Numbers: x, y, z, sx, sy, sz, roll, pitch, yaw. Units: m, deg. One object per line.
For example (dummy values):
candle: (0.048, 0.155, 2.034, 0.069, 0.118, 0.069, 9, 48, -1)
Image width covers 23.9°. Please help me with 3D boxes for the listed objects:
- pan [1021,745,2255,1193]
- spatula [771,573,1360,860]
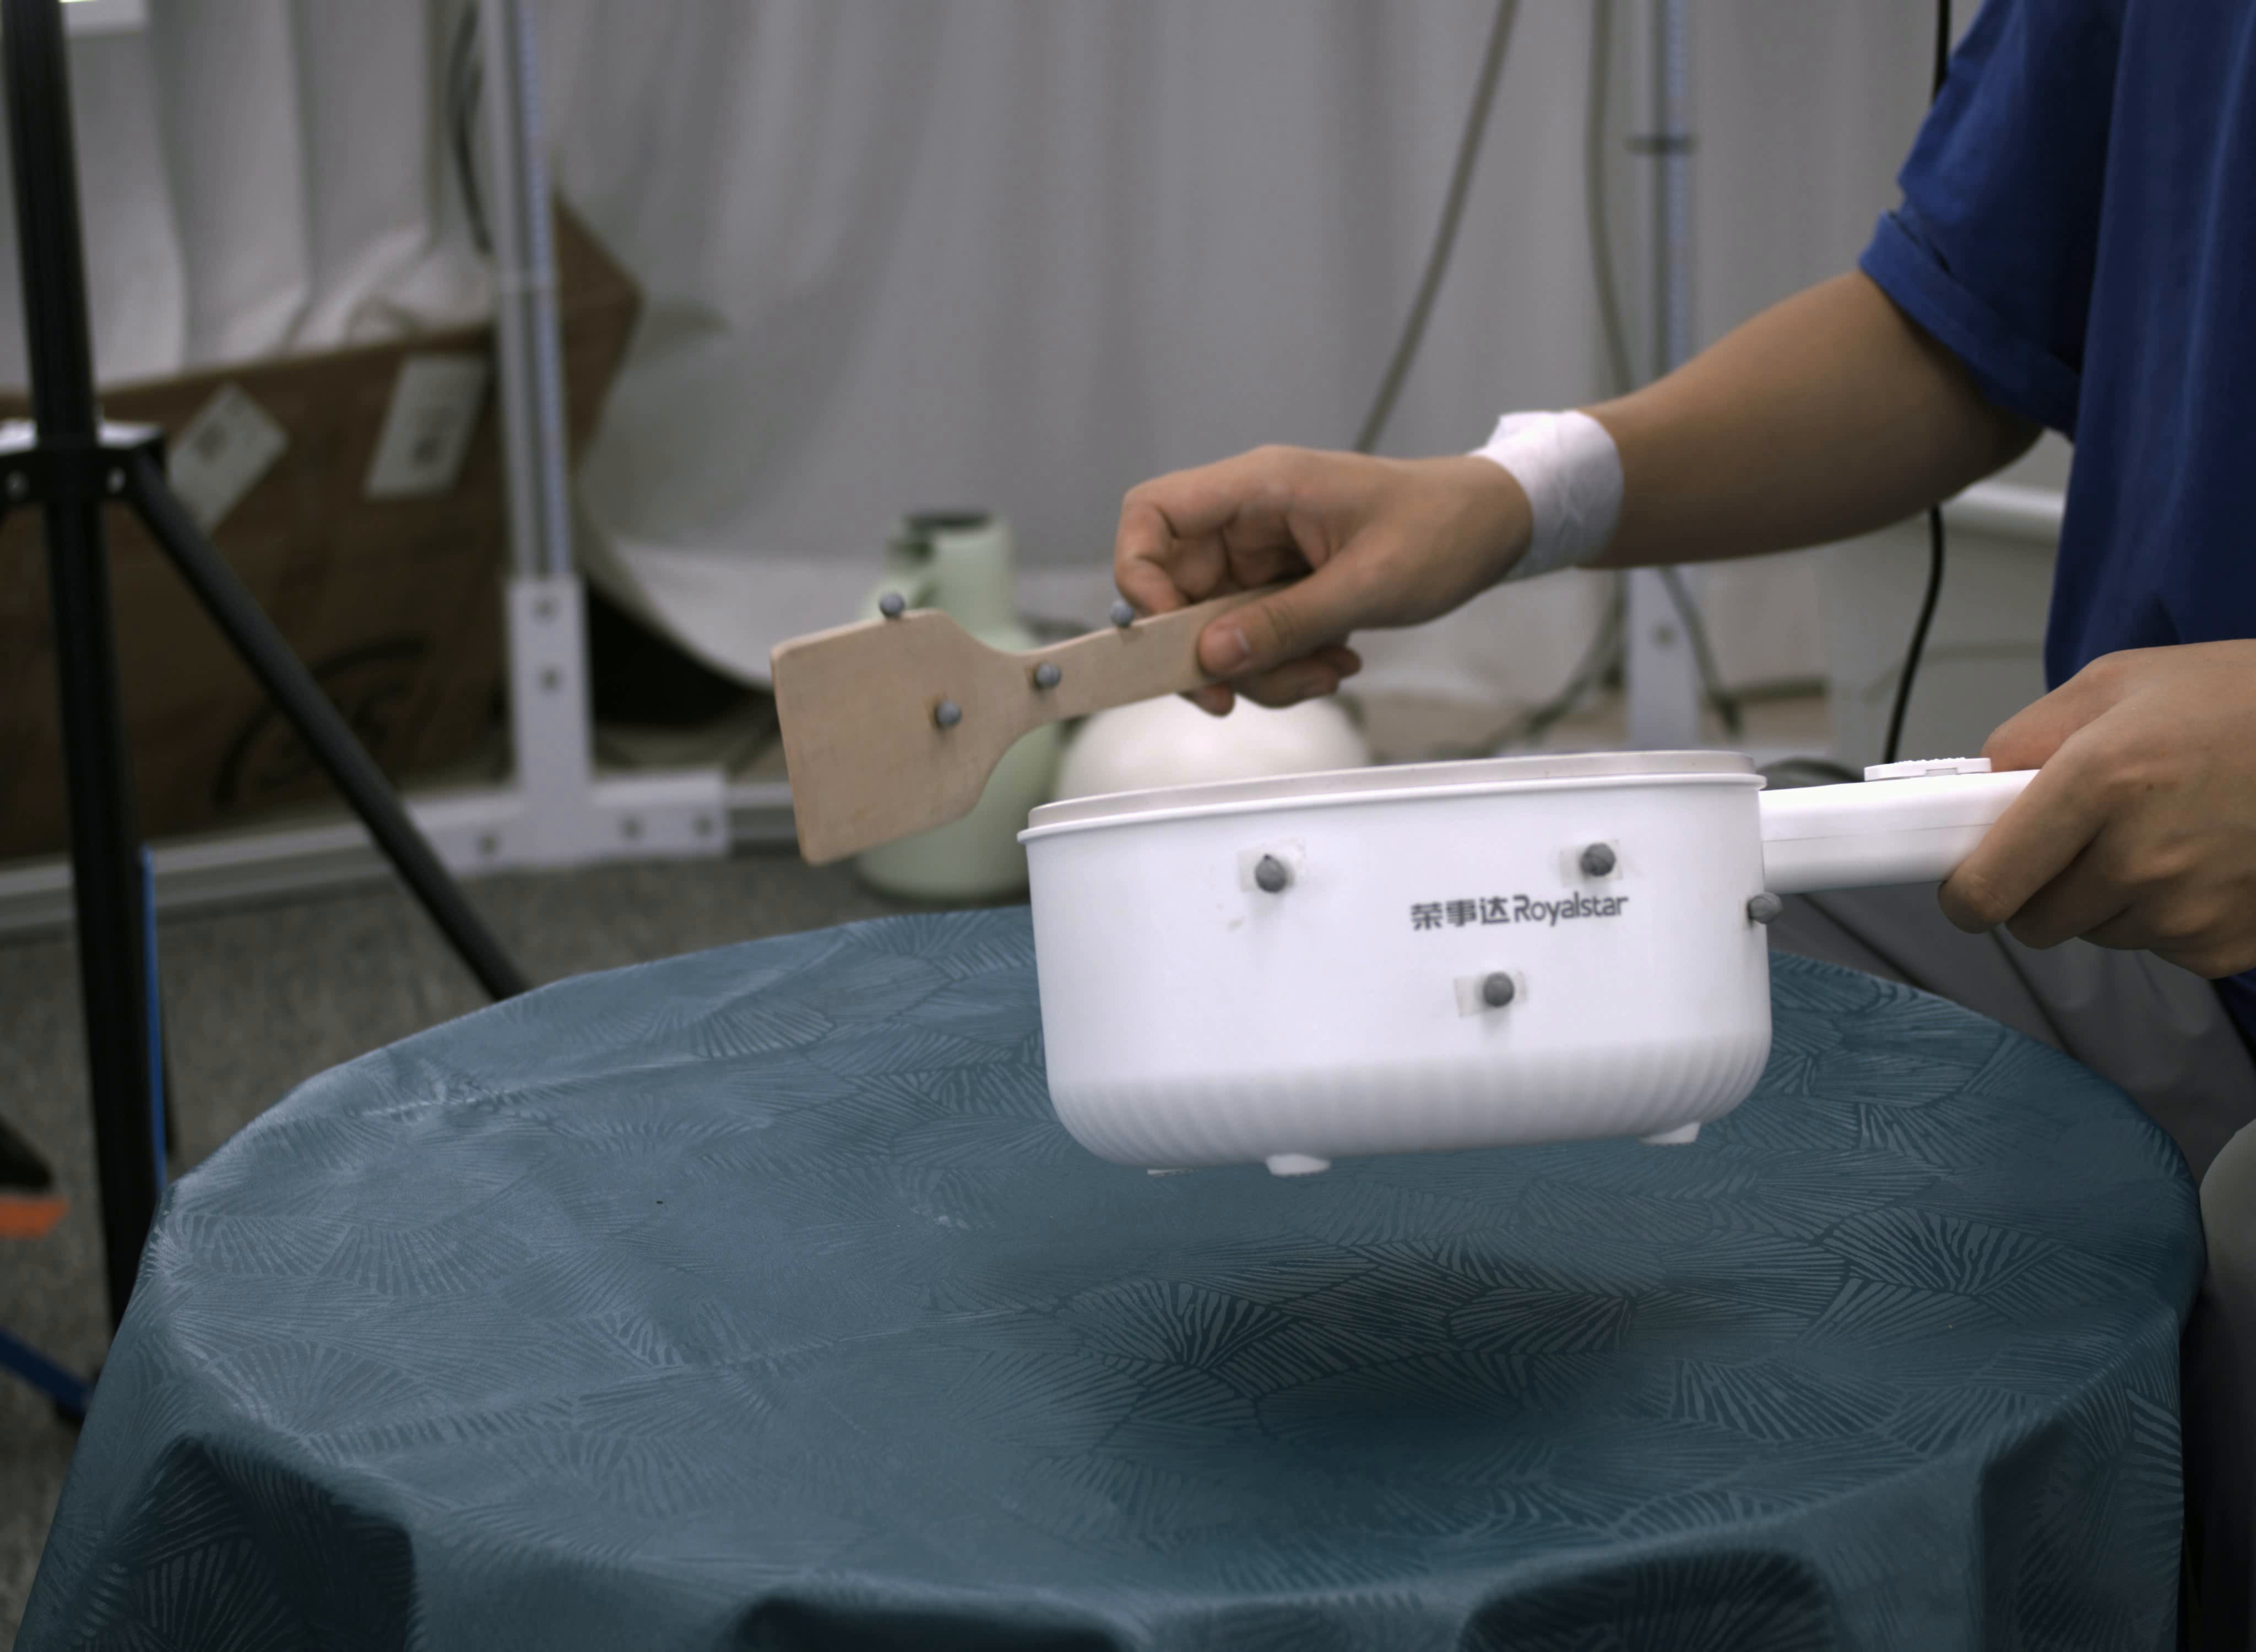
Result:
pan: (0.147, 0.037, 1.434, 0.348, 0.103, 0.203, -3, -5, -17)
spatula: (-0.014, -0.050, 1.761, 0.011, 0.072, 0.286, -7, 6, 43)
